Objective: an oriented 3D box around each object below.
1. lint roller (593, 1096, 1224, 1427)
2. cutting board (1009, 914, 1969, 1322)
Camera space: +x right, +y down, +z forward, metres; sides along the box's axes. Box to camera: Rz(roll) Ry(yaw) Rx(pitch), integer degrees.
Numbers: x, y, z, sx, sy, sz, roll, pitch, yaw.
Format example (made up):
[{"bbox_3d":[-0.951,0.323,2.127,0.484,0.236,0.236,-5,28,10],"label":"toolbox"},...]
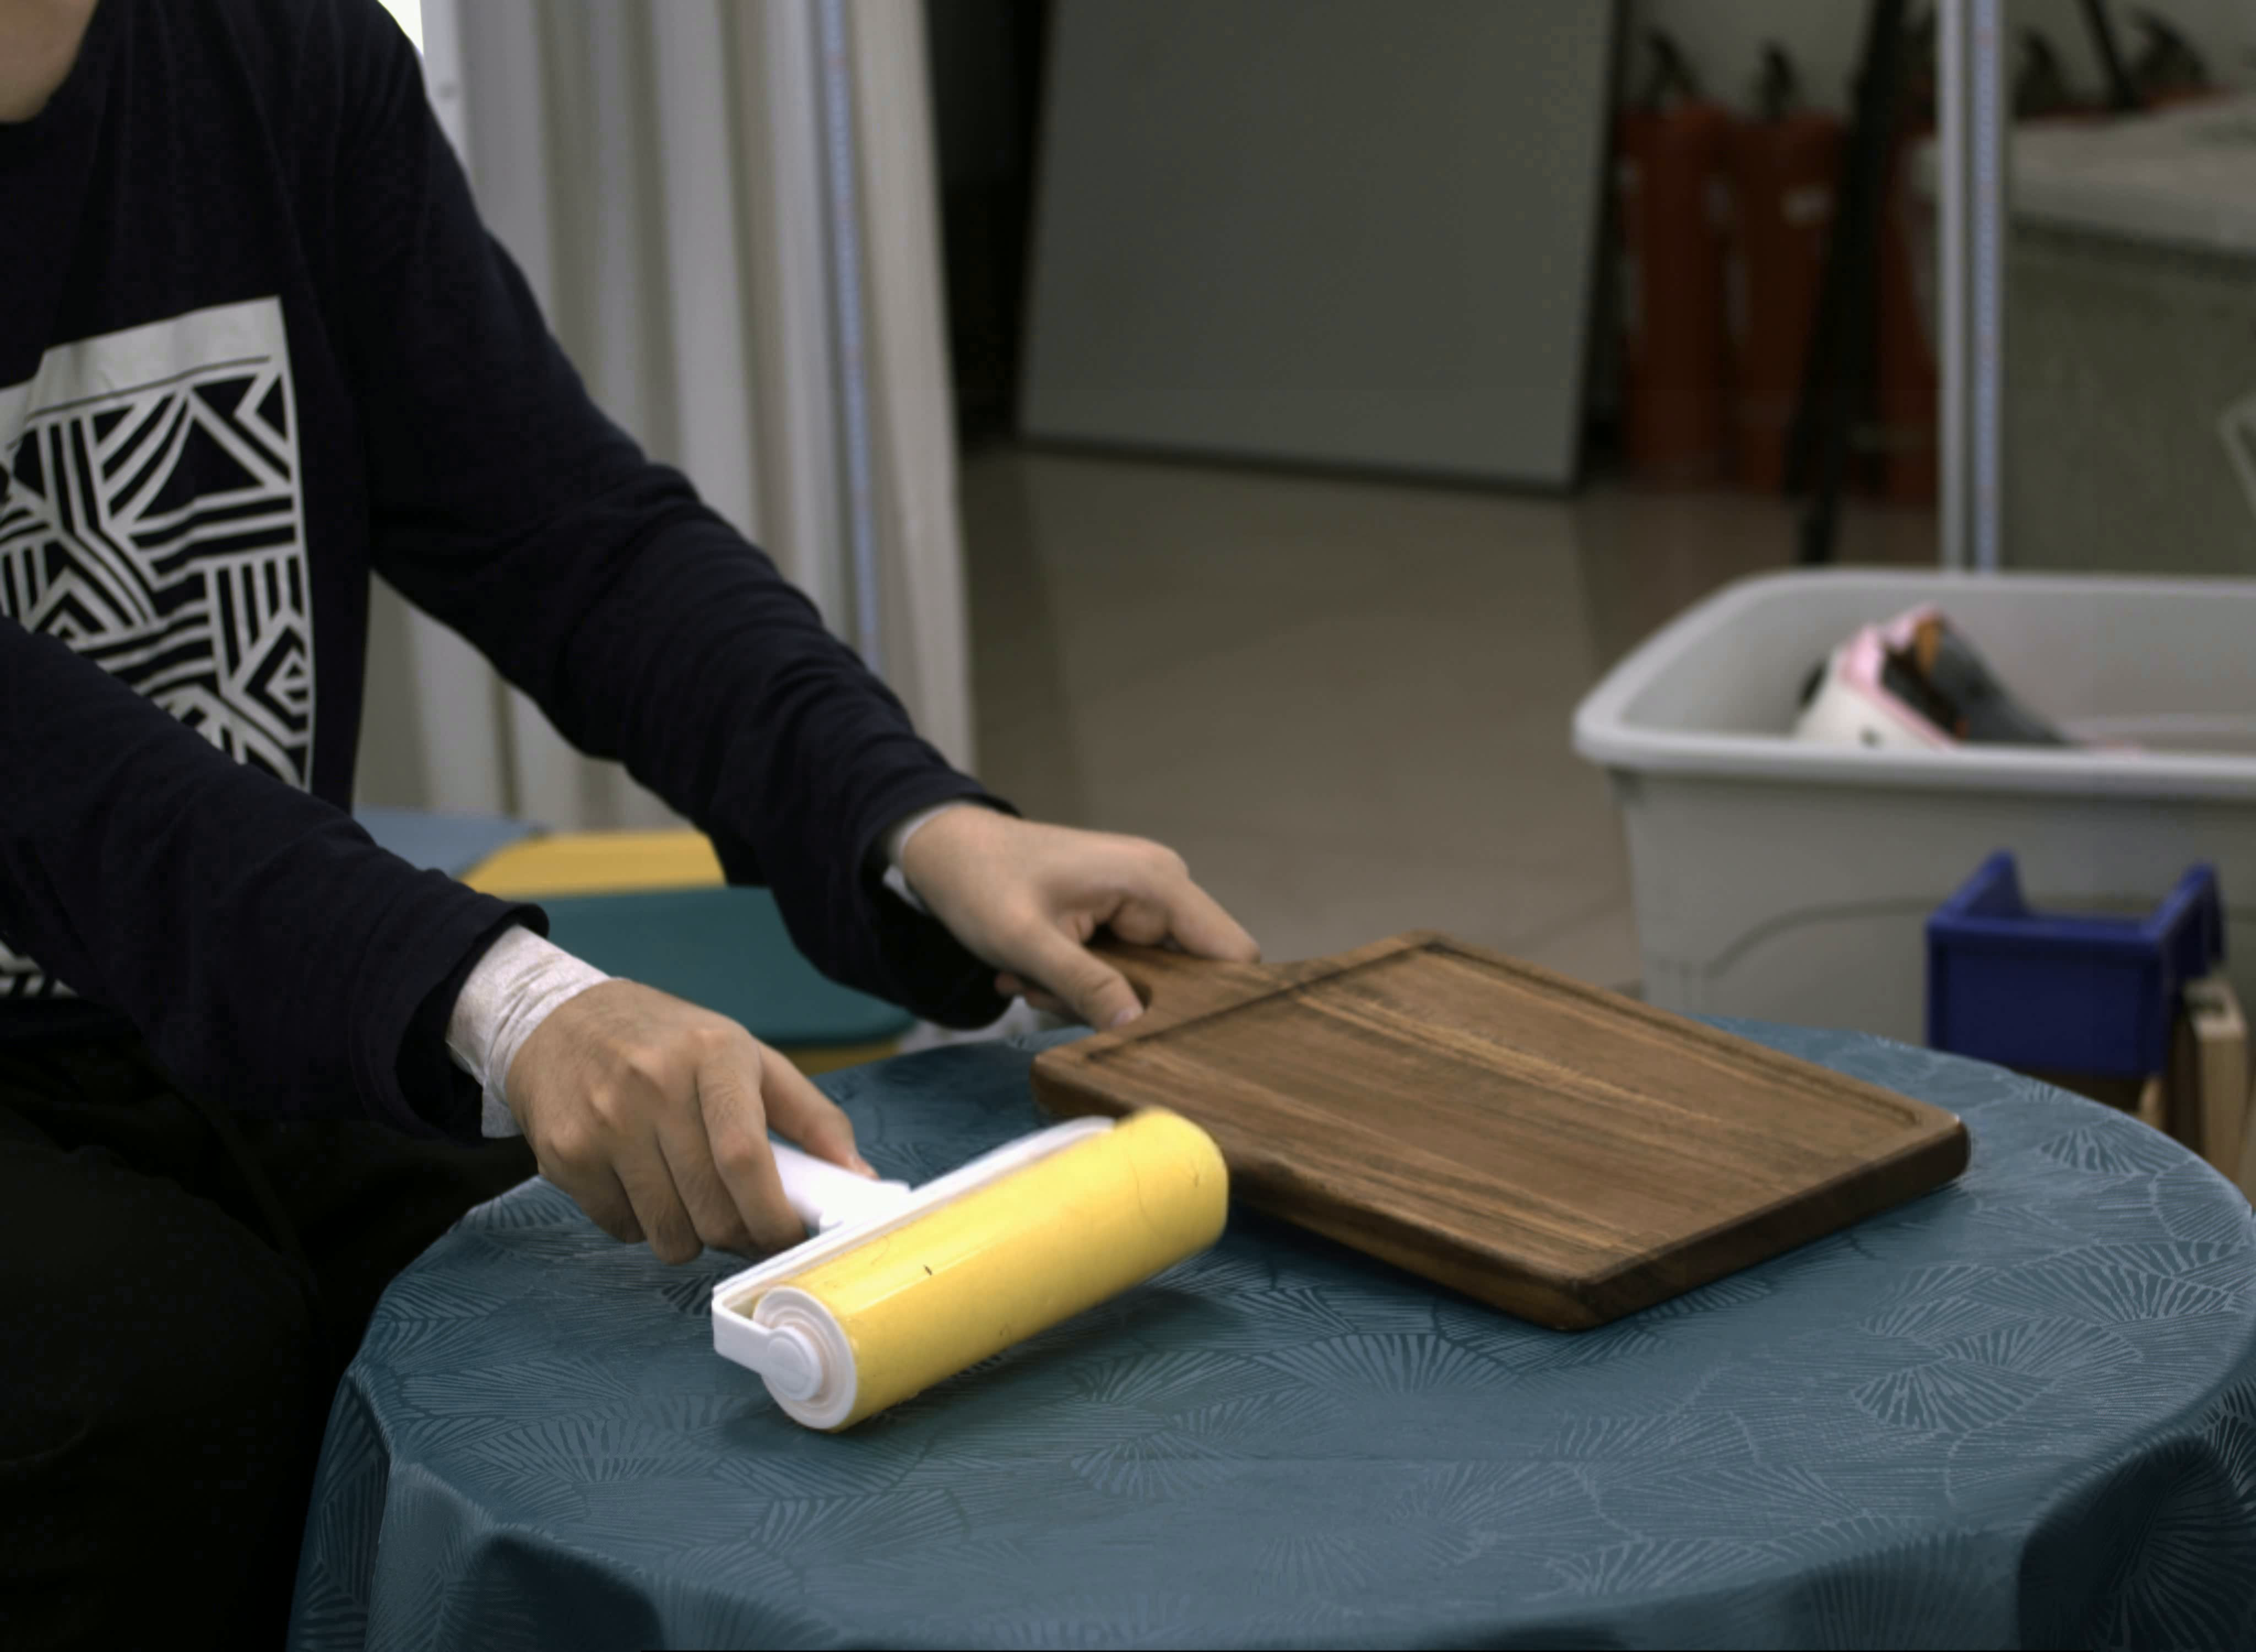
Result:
[{"bbox_3d":[-0.093,0.106,1.658,0.193,0.052,0.171,25,34,35],"label":"lint roller"},{"bbox_3d":[0.086,0.082,1.785,0.197,0.023,0.355,-15,23,-40],"label":"cutting board"}]
